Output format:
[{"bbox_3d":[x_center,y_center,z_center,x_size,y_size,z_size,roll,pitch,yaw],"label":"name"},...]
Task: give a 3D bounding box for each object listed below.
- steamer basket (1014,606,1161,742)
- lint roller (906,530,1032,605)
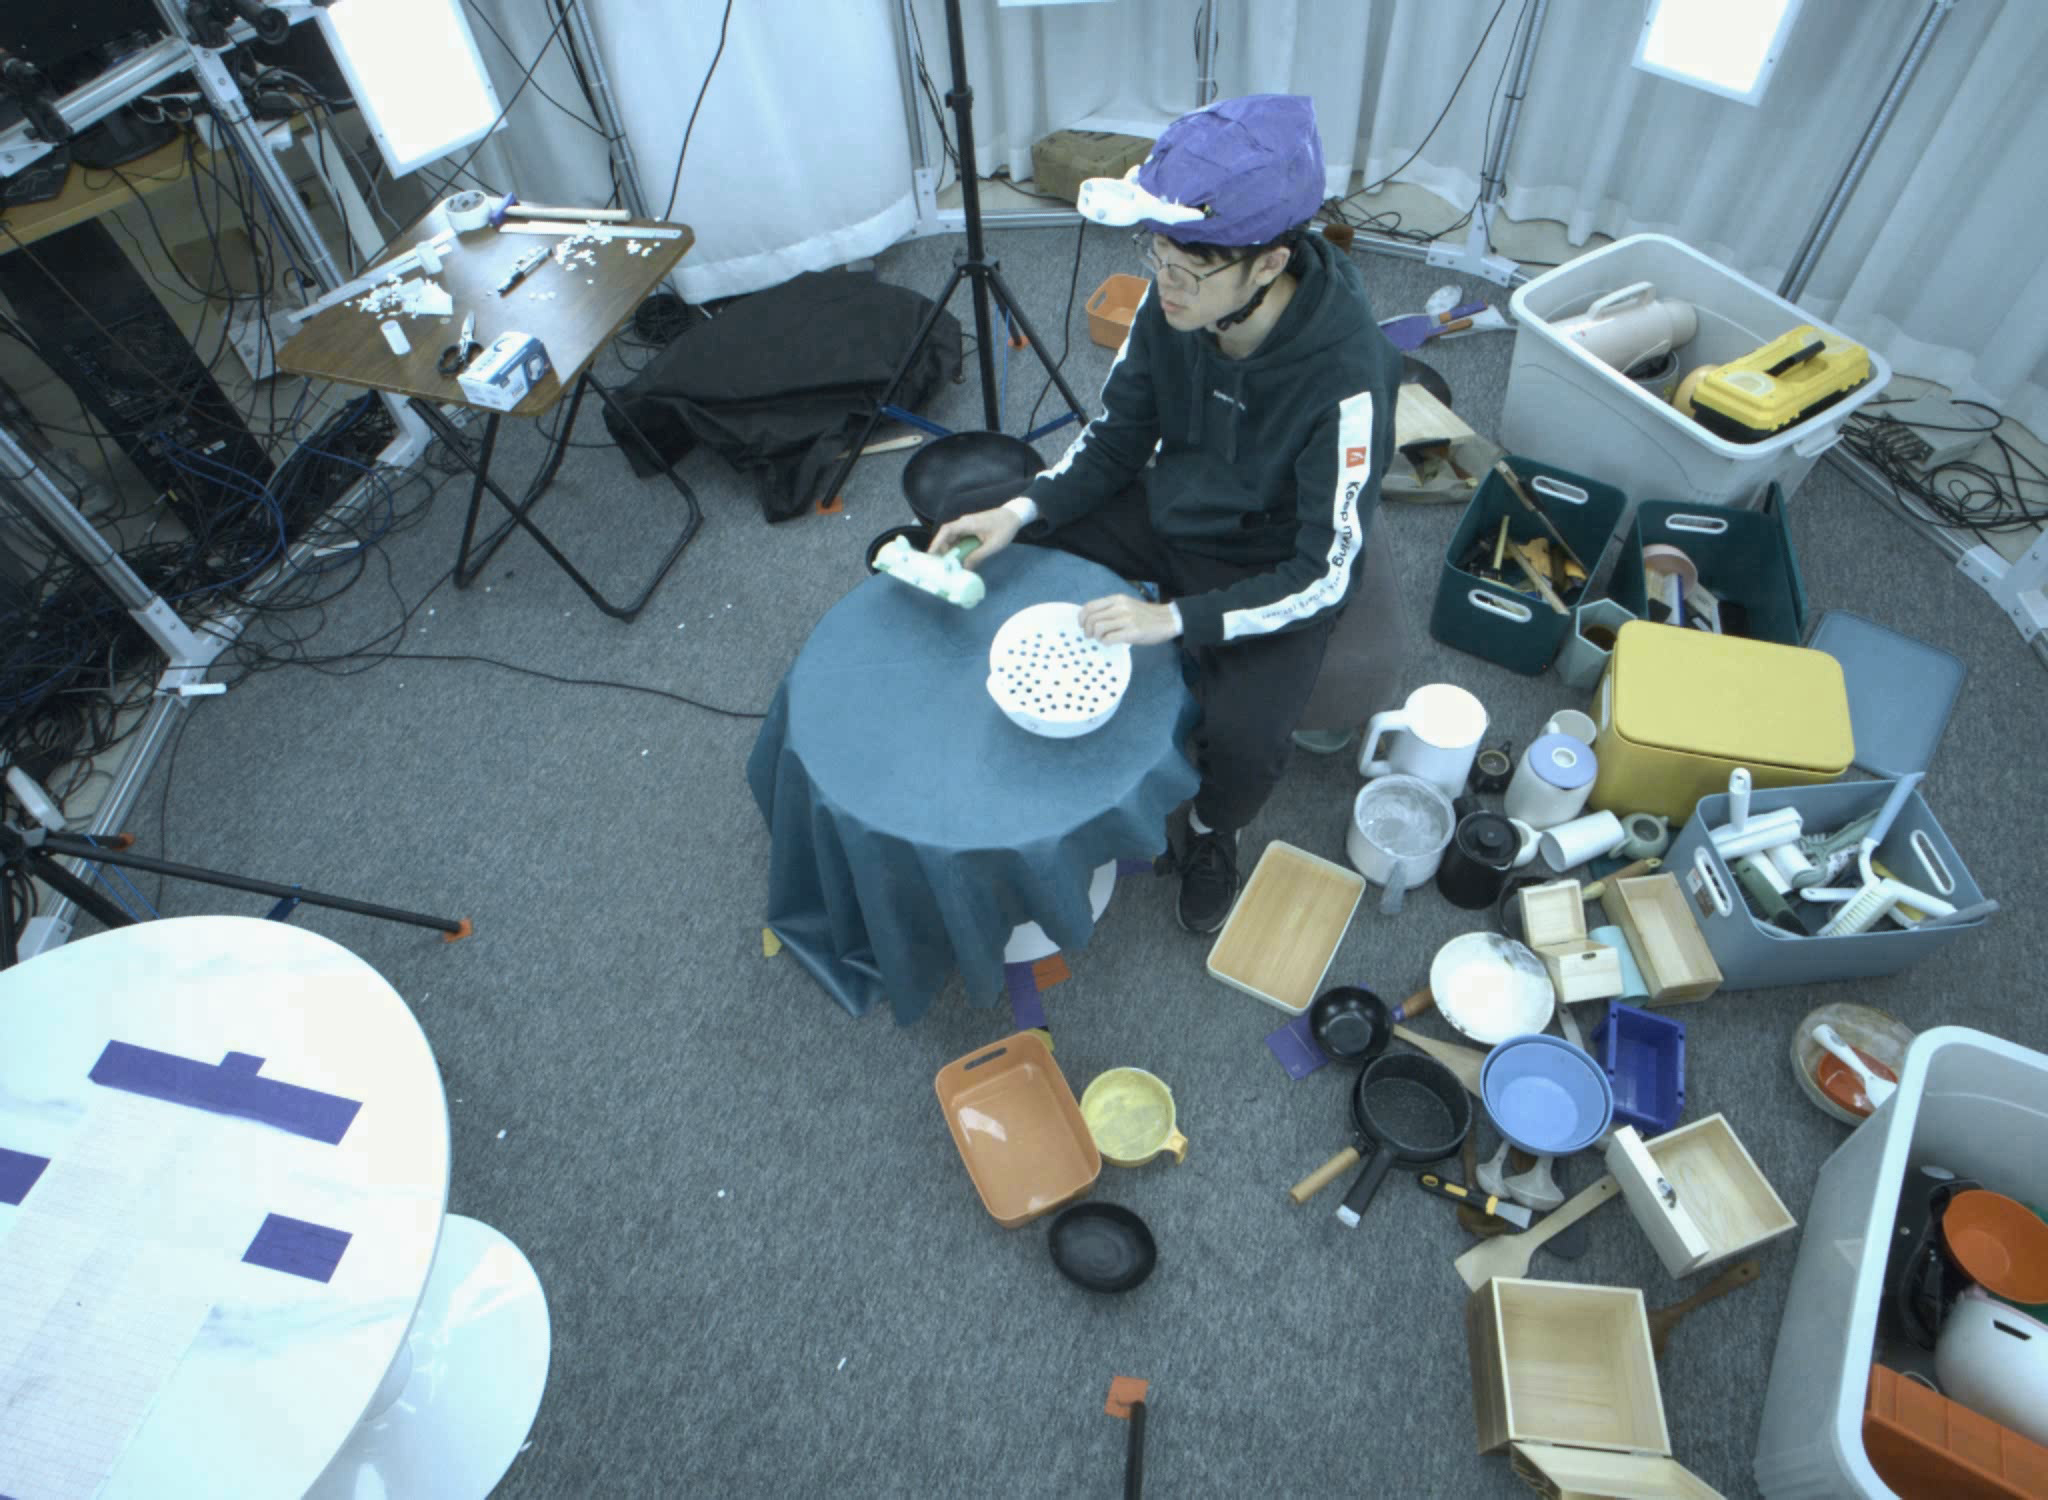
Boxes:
[{"bbox_3d":[0.089,-0.106,1.759,0.232,0.069,0.199,-31,70,-19],"label":"steamer basket"},{"bbox_3d":[-0.061,-0.313,1.906,0.194,0.083,0.184,27,60,37],"label":"lint roller"}]
